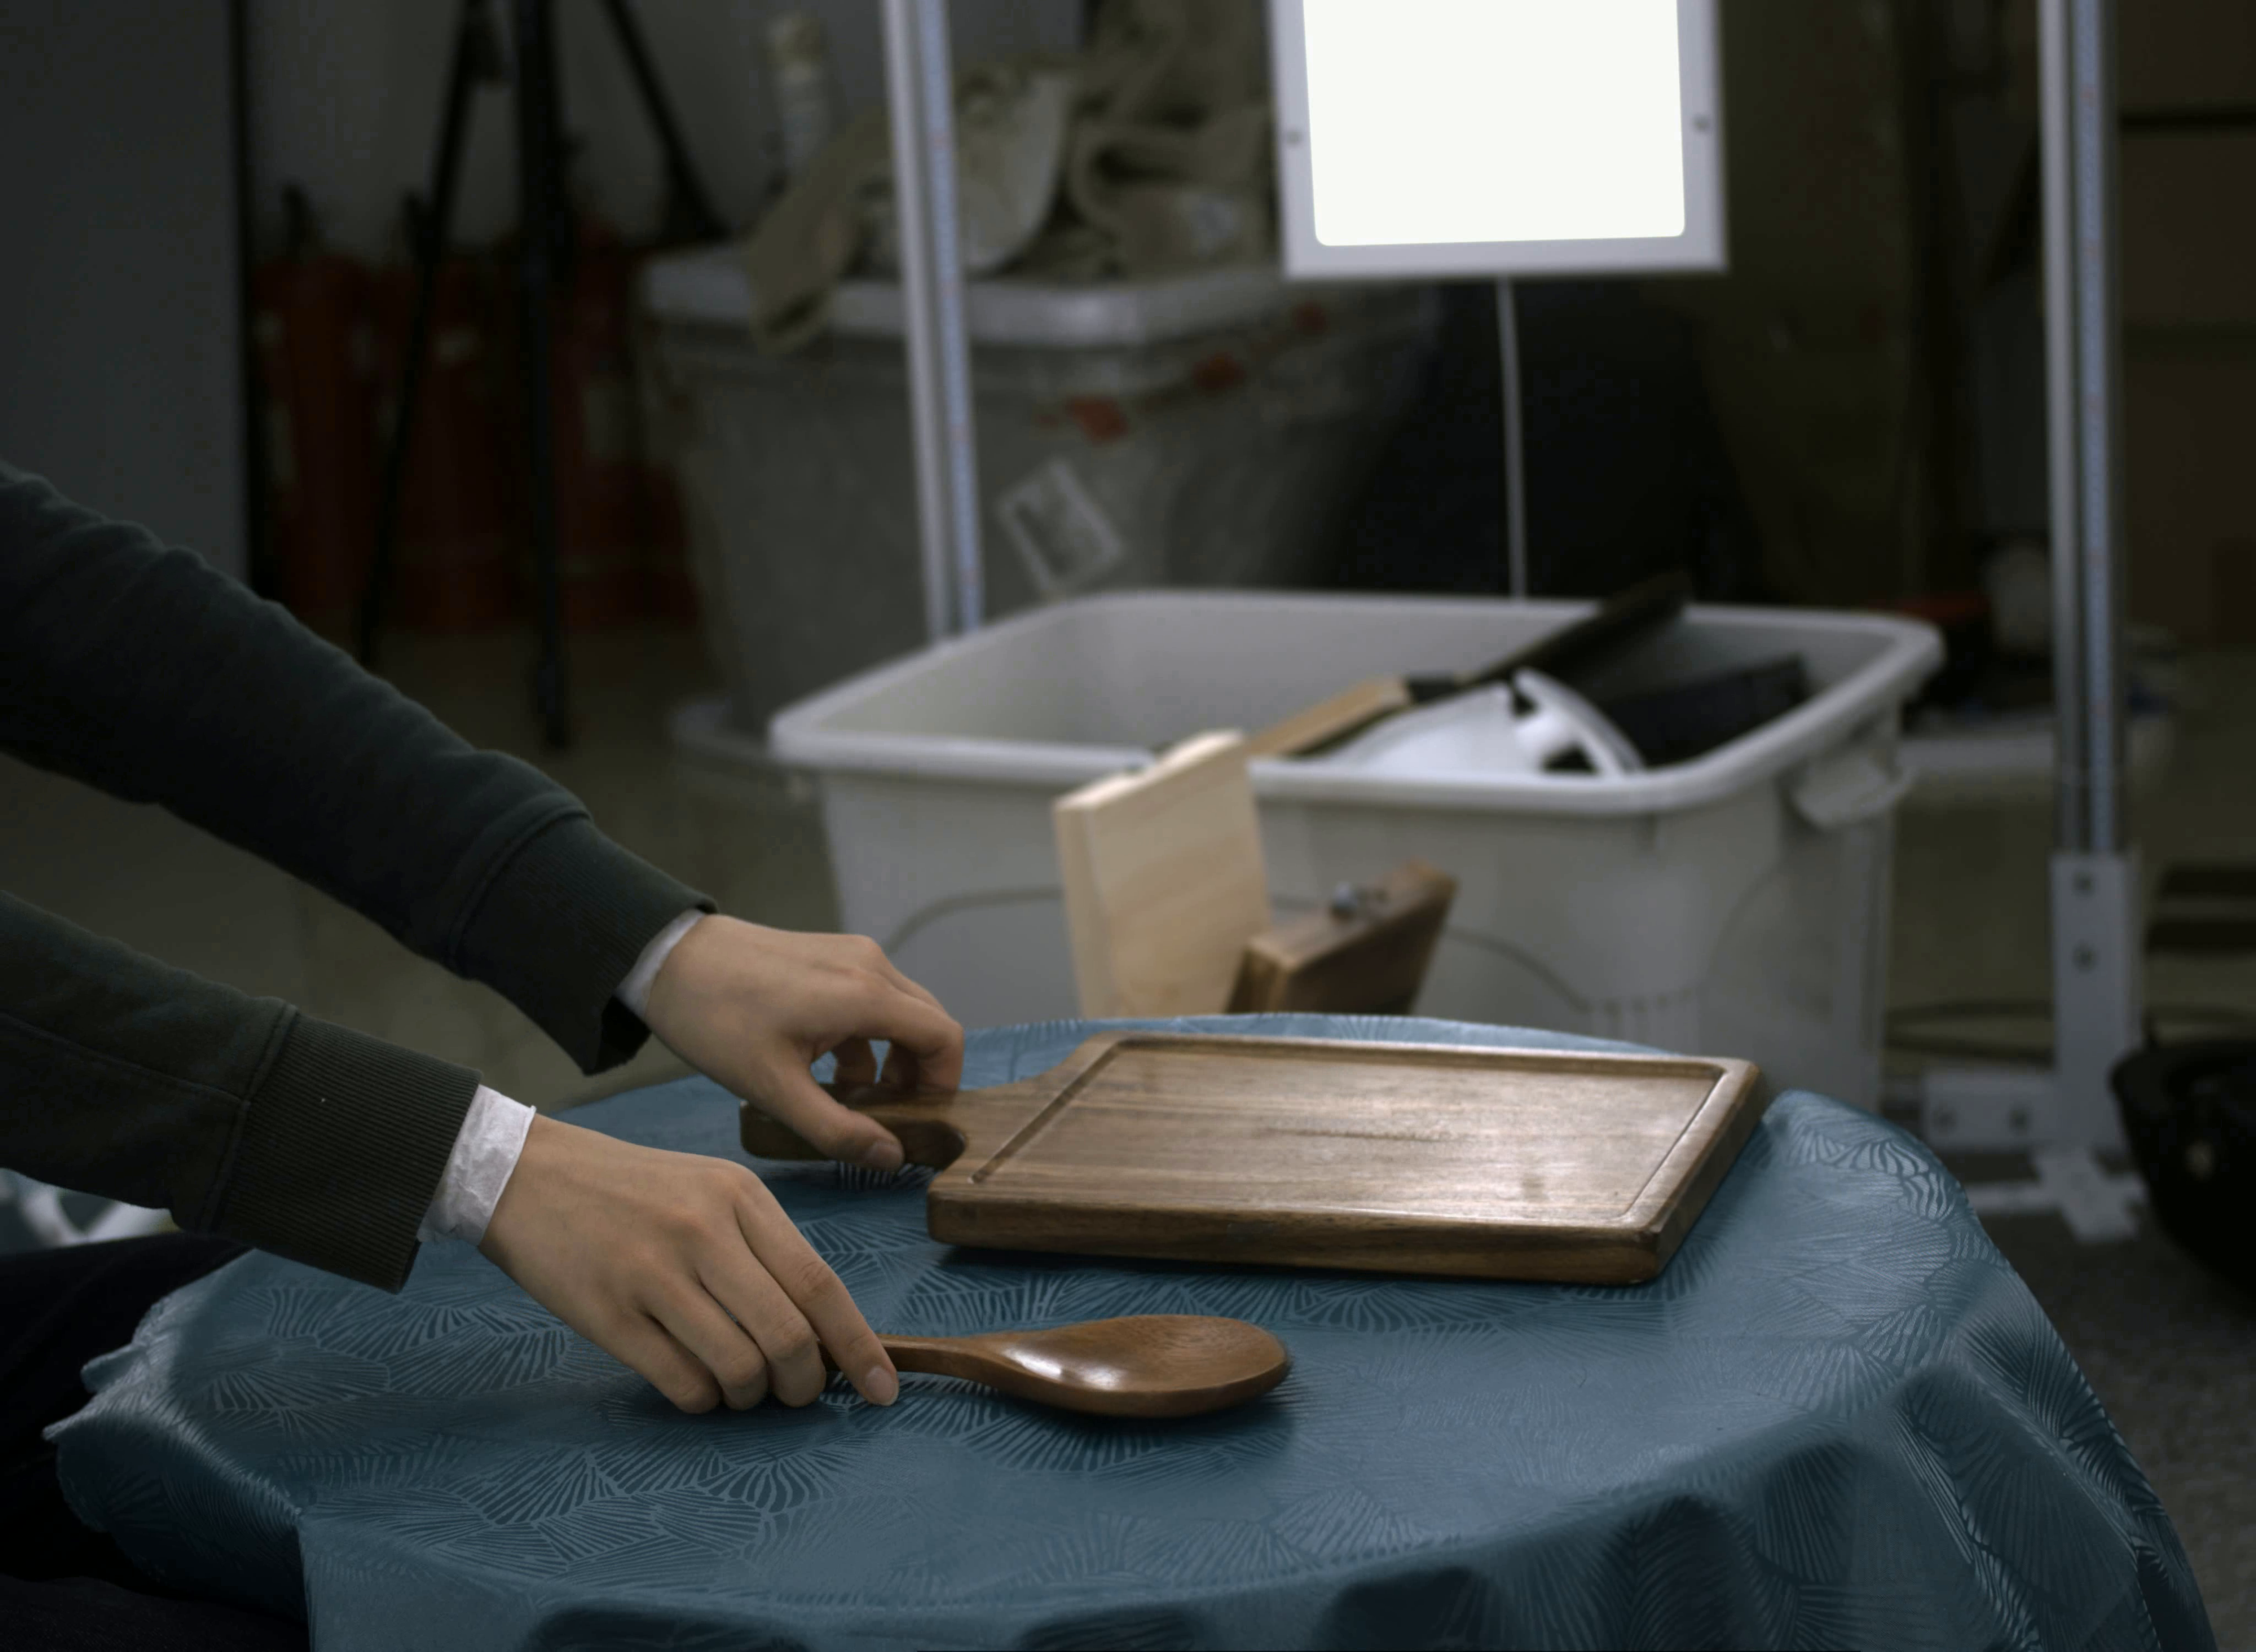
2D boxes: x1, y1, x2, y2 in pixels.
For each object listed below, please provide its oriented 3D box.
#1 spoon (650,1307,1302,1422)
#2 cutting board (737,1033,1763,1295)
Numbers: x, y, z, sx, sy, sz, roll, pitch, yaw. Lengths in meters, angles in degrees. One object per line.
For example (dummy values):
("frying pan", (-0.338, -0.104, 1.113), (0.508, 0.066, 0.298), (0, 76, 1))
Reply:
("spoon", (-0.049, 0.166, 1.716), (0.219, 0.017, 0.074), (2, 17, 23))
("cutting board", (0.031, 0.111, 1.896), (0.356, 0.023, 0.197), (1, 16, 19))
